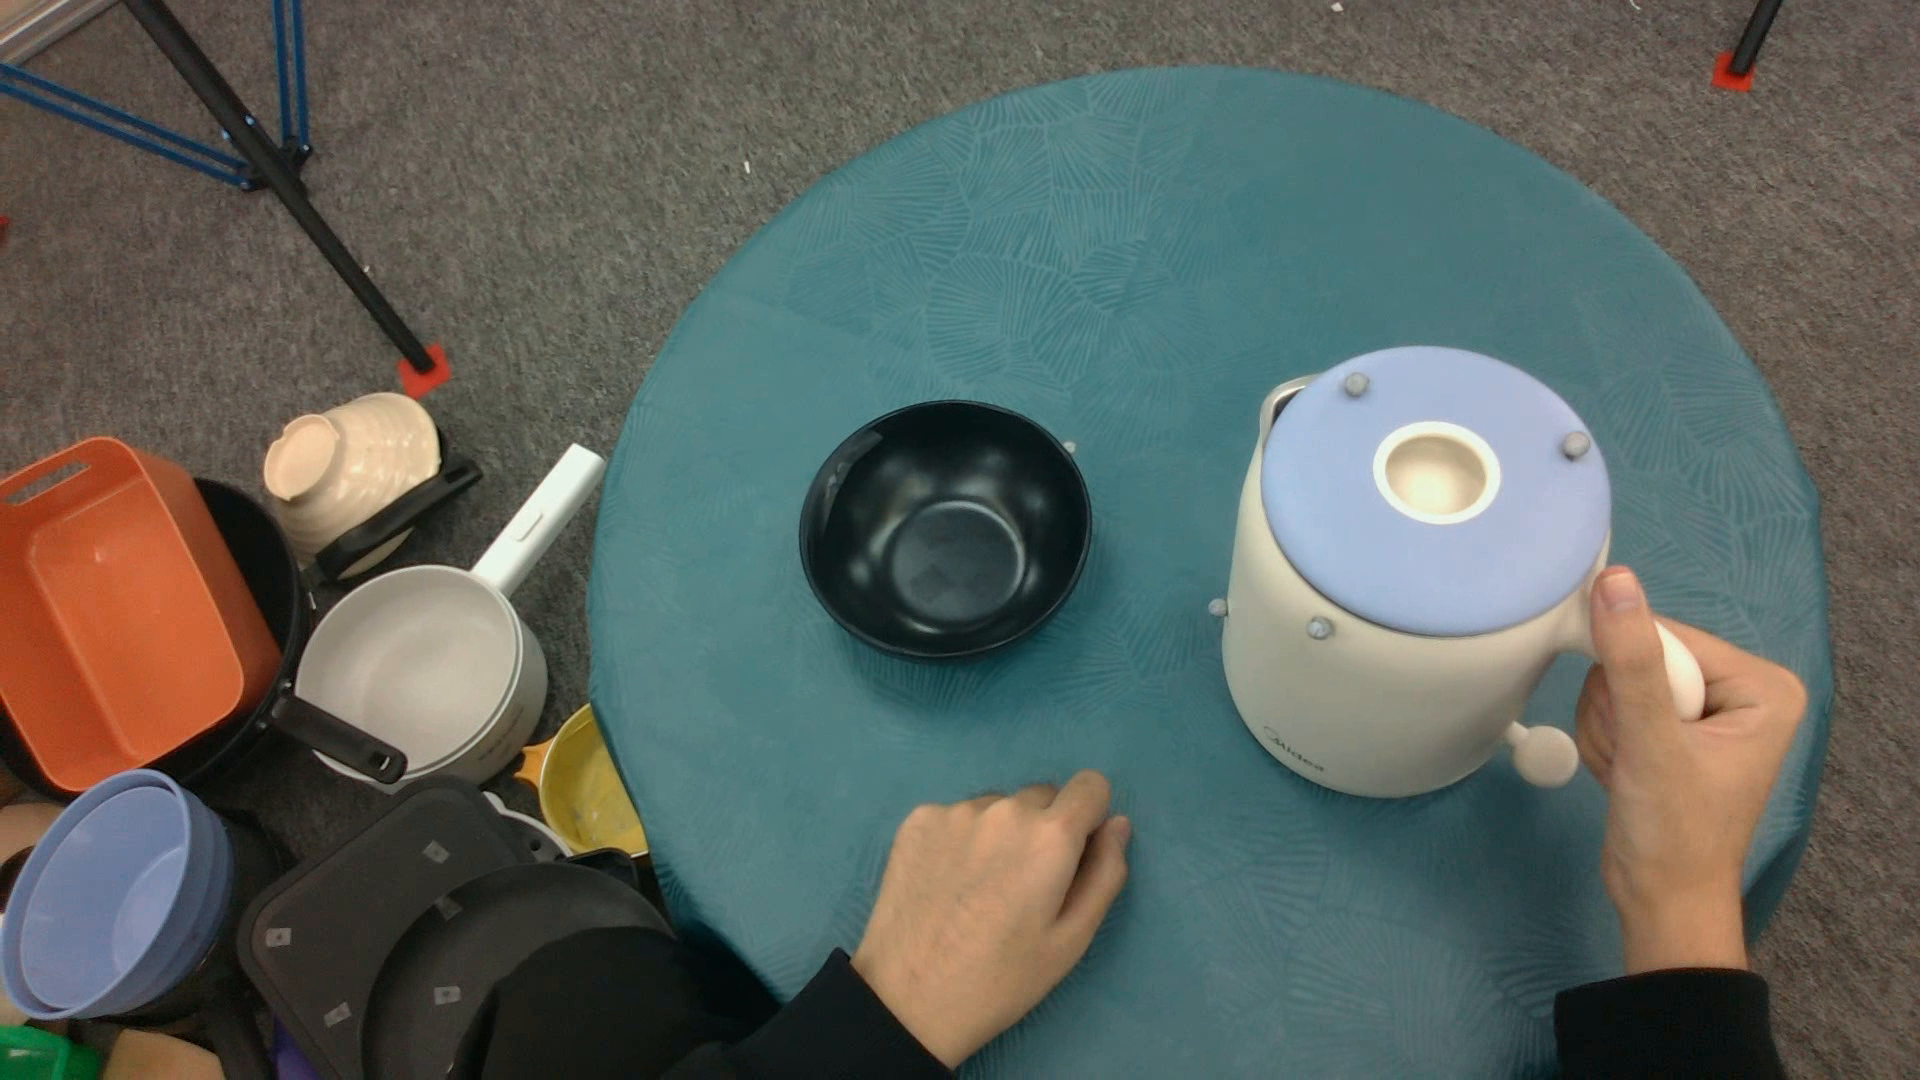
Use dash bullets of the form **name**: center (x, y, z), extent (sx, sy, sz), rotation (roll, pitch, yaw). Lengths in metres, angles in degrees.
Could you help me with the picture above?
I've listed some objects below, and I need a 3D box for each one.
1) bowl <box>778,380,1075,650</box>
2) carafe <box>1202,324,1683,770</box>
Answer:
- **bowl**: center (-0.015, -0.006, 0.661), extent (0.140, 0.049, 0.140), rotation (-2, 64, 4)
- **carafe**: center (0.189, 0.022, 0.557), extent (0.191, 0.182, 0.132), rotation (34, 72, 19)
